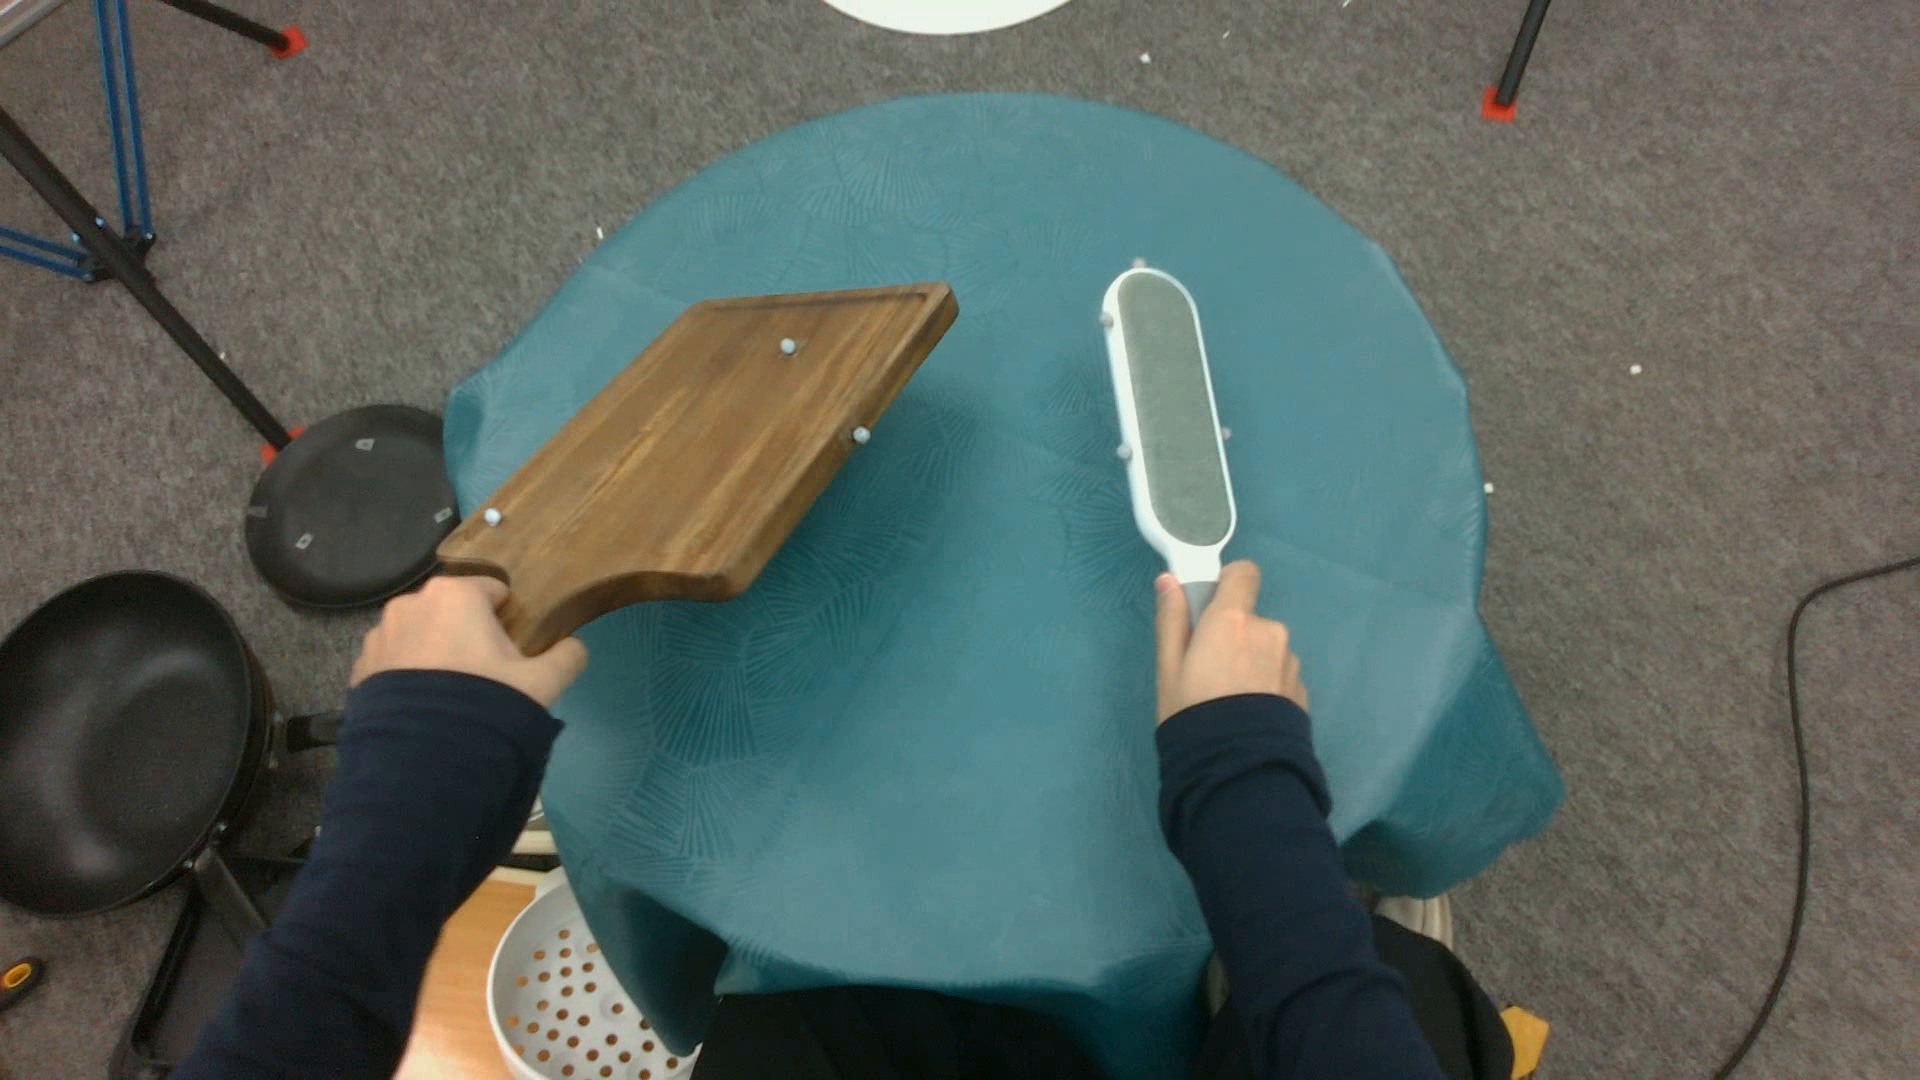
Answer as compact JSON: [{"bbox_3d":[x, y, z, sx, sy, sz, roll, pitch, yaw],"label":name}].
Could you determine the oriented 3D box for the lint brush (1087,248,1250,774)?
[{"bbox_3d":[0.112,-0.027,0.733,0.060,0.021,0.310,6,62,-26],"label":"lint brush"}]

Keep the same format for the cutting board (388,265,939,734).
[{"bbox_3d":[-0.166,-0.038,0.707,0.200,0.023,0.354,3,42,31],"label":"cutting board"}]
